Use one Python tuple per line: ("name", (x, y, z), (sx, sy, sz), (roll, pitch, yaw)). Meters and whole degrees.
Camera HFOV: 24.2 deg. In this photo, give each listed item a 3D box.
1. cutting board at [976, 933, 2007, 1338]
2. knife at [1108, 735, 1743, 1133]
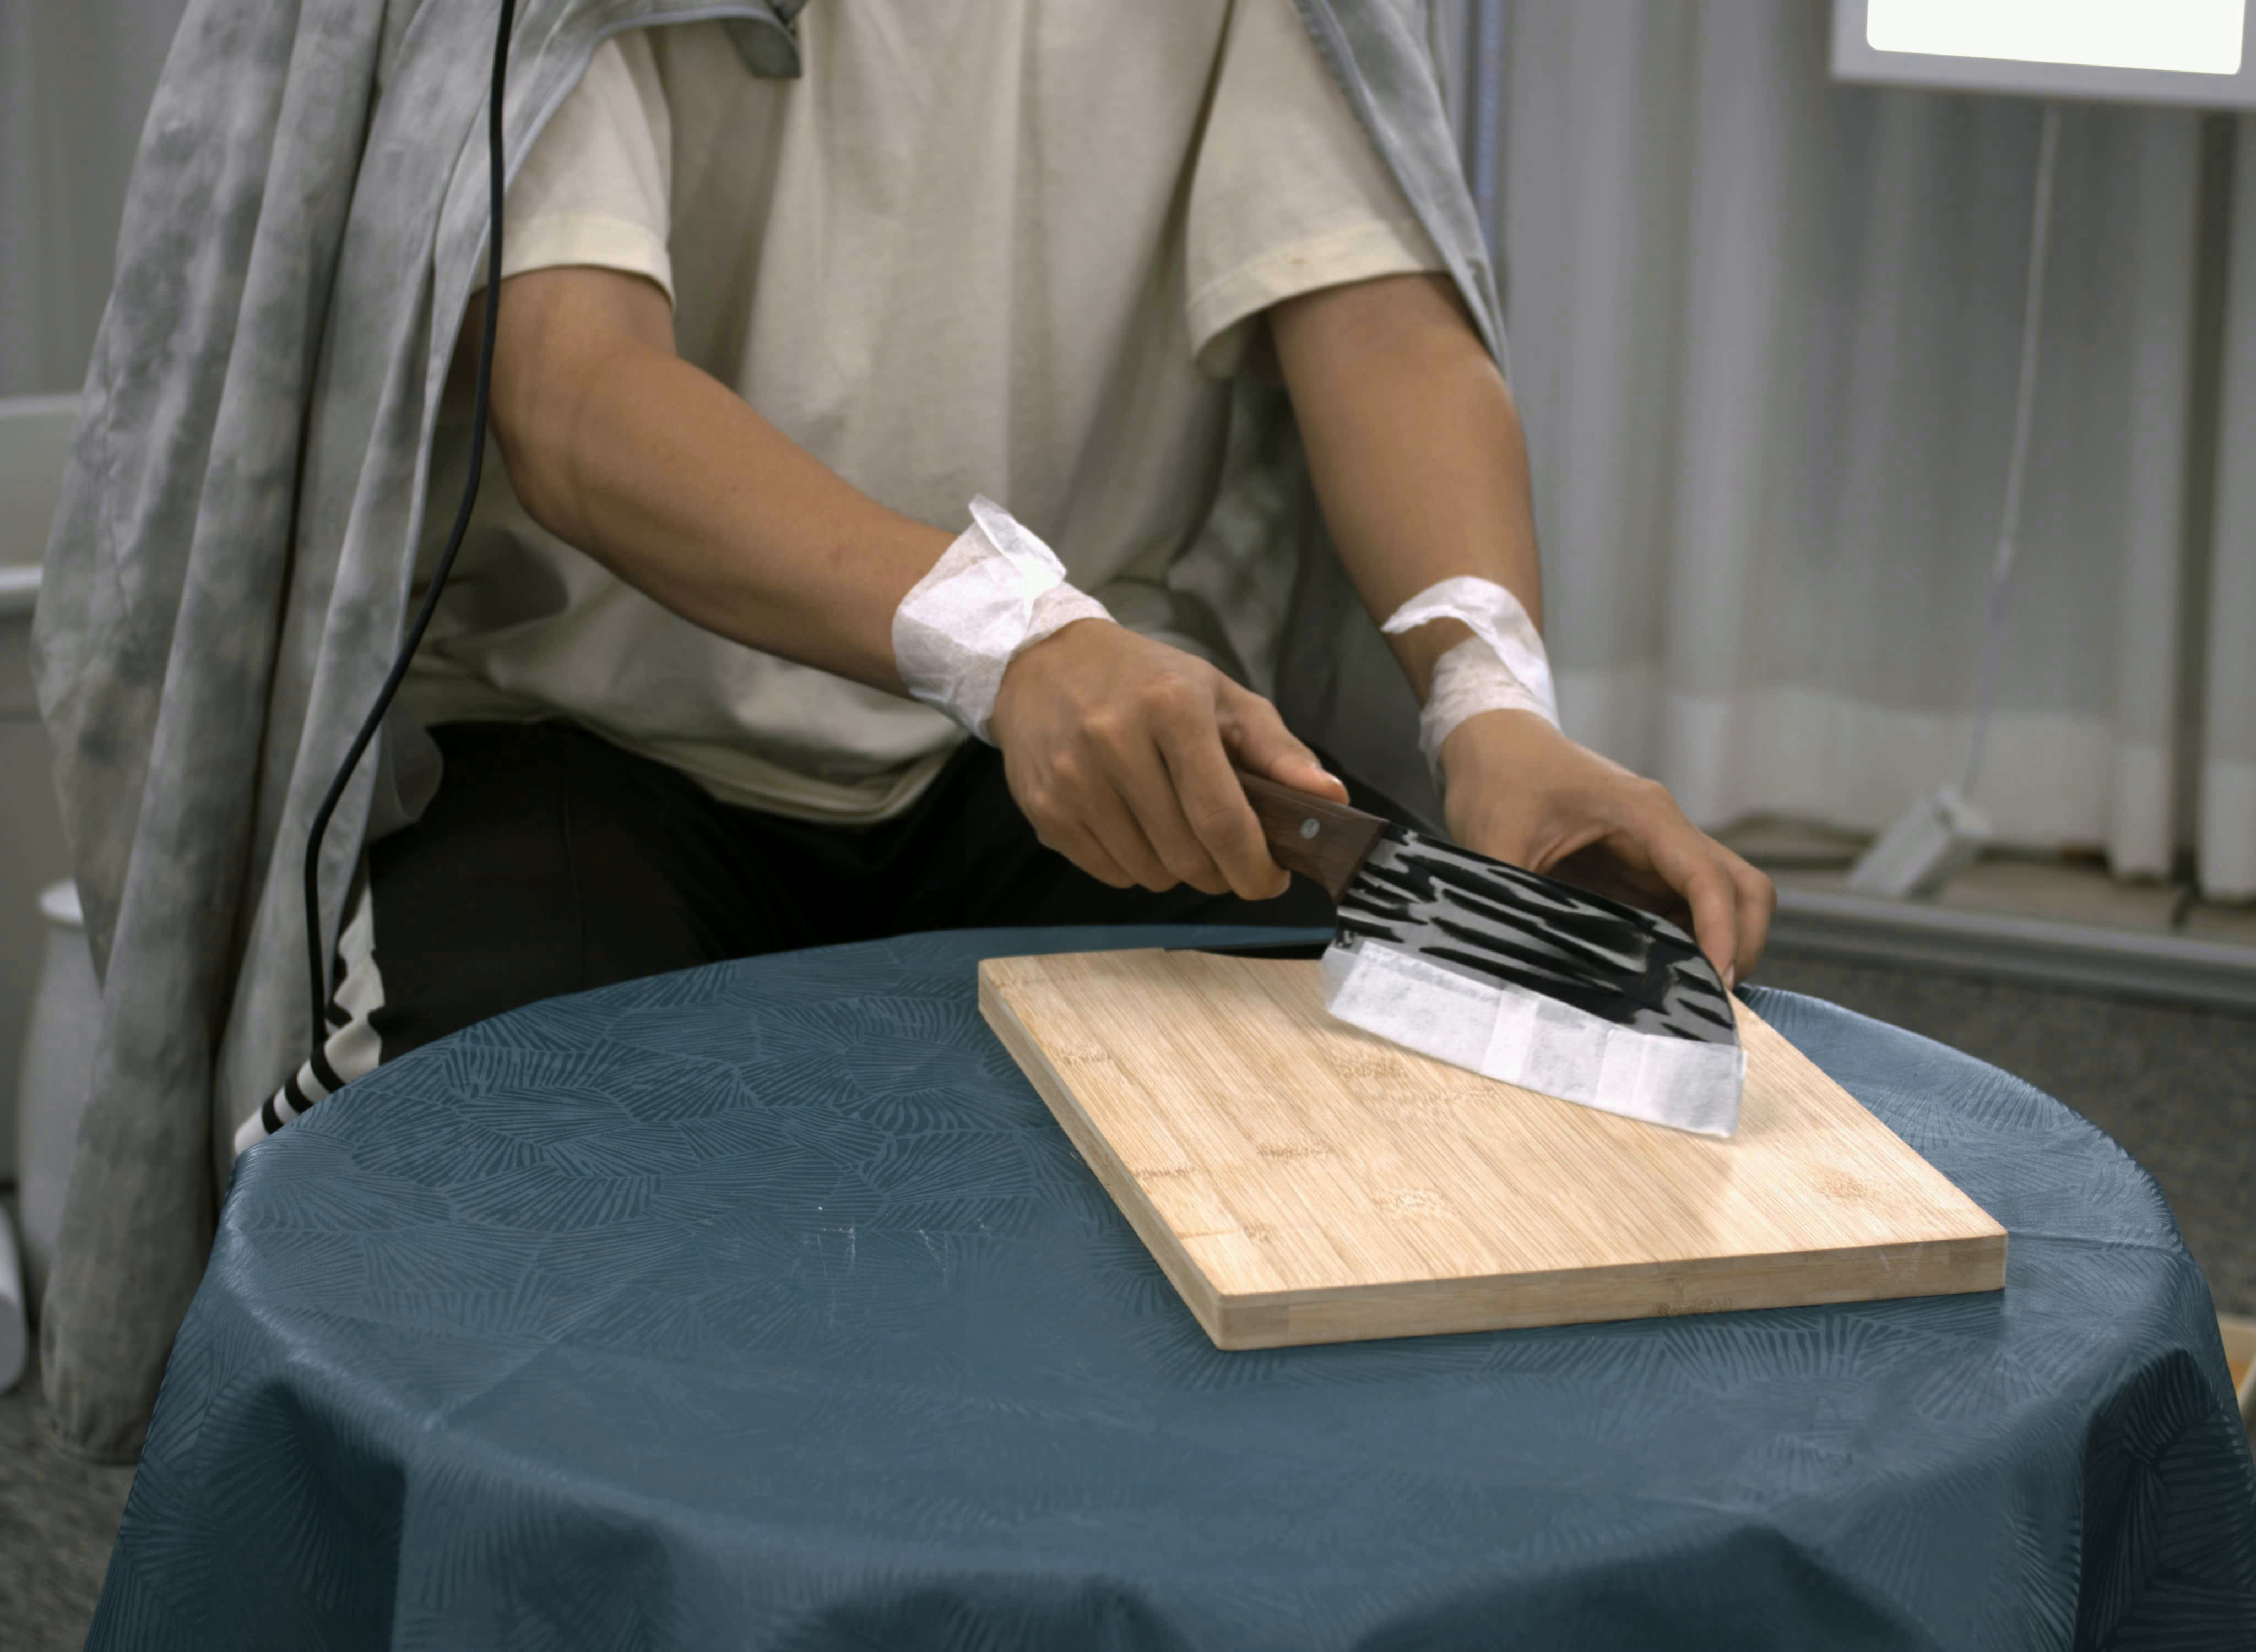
("cutting board", (0.103, 0.090, 1.681), (0.251, 0.024, 0.345), (-3, 16, -14))
("knife", (0.091, 0.033, 1.719), (0.295, 0.068, 0.024), (21, -4, 41))
